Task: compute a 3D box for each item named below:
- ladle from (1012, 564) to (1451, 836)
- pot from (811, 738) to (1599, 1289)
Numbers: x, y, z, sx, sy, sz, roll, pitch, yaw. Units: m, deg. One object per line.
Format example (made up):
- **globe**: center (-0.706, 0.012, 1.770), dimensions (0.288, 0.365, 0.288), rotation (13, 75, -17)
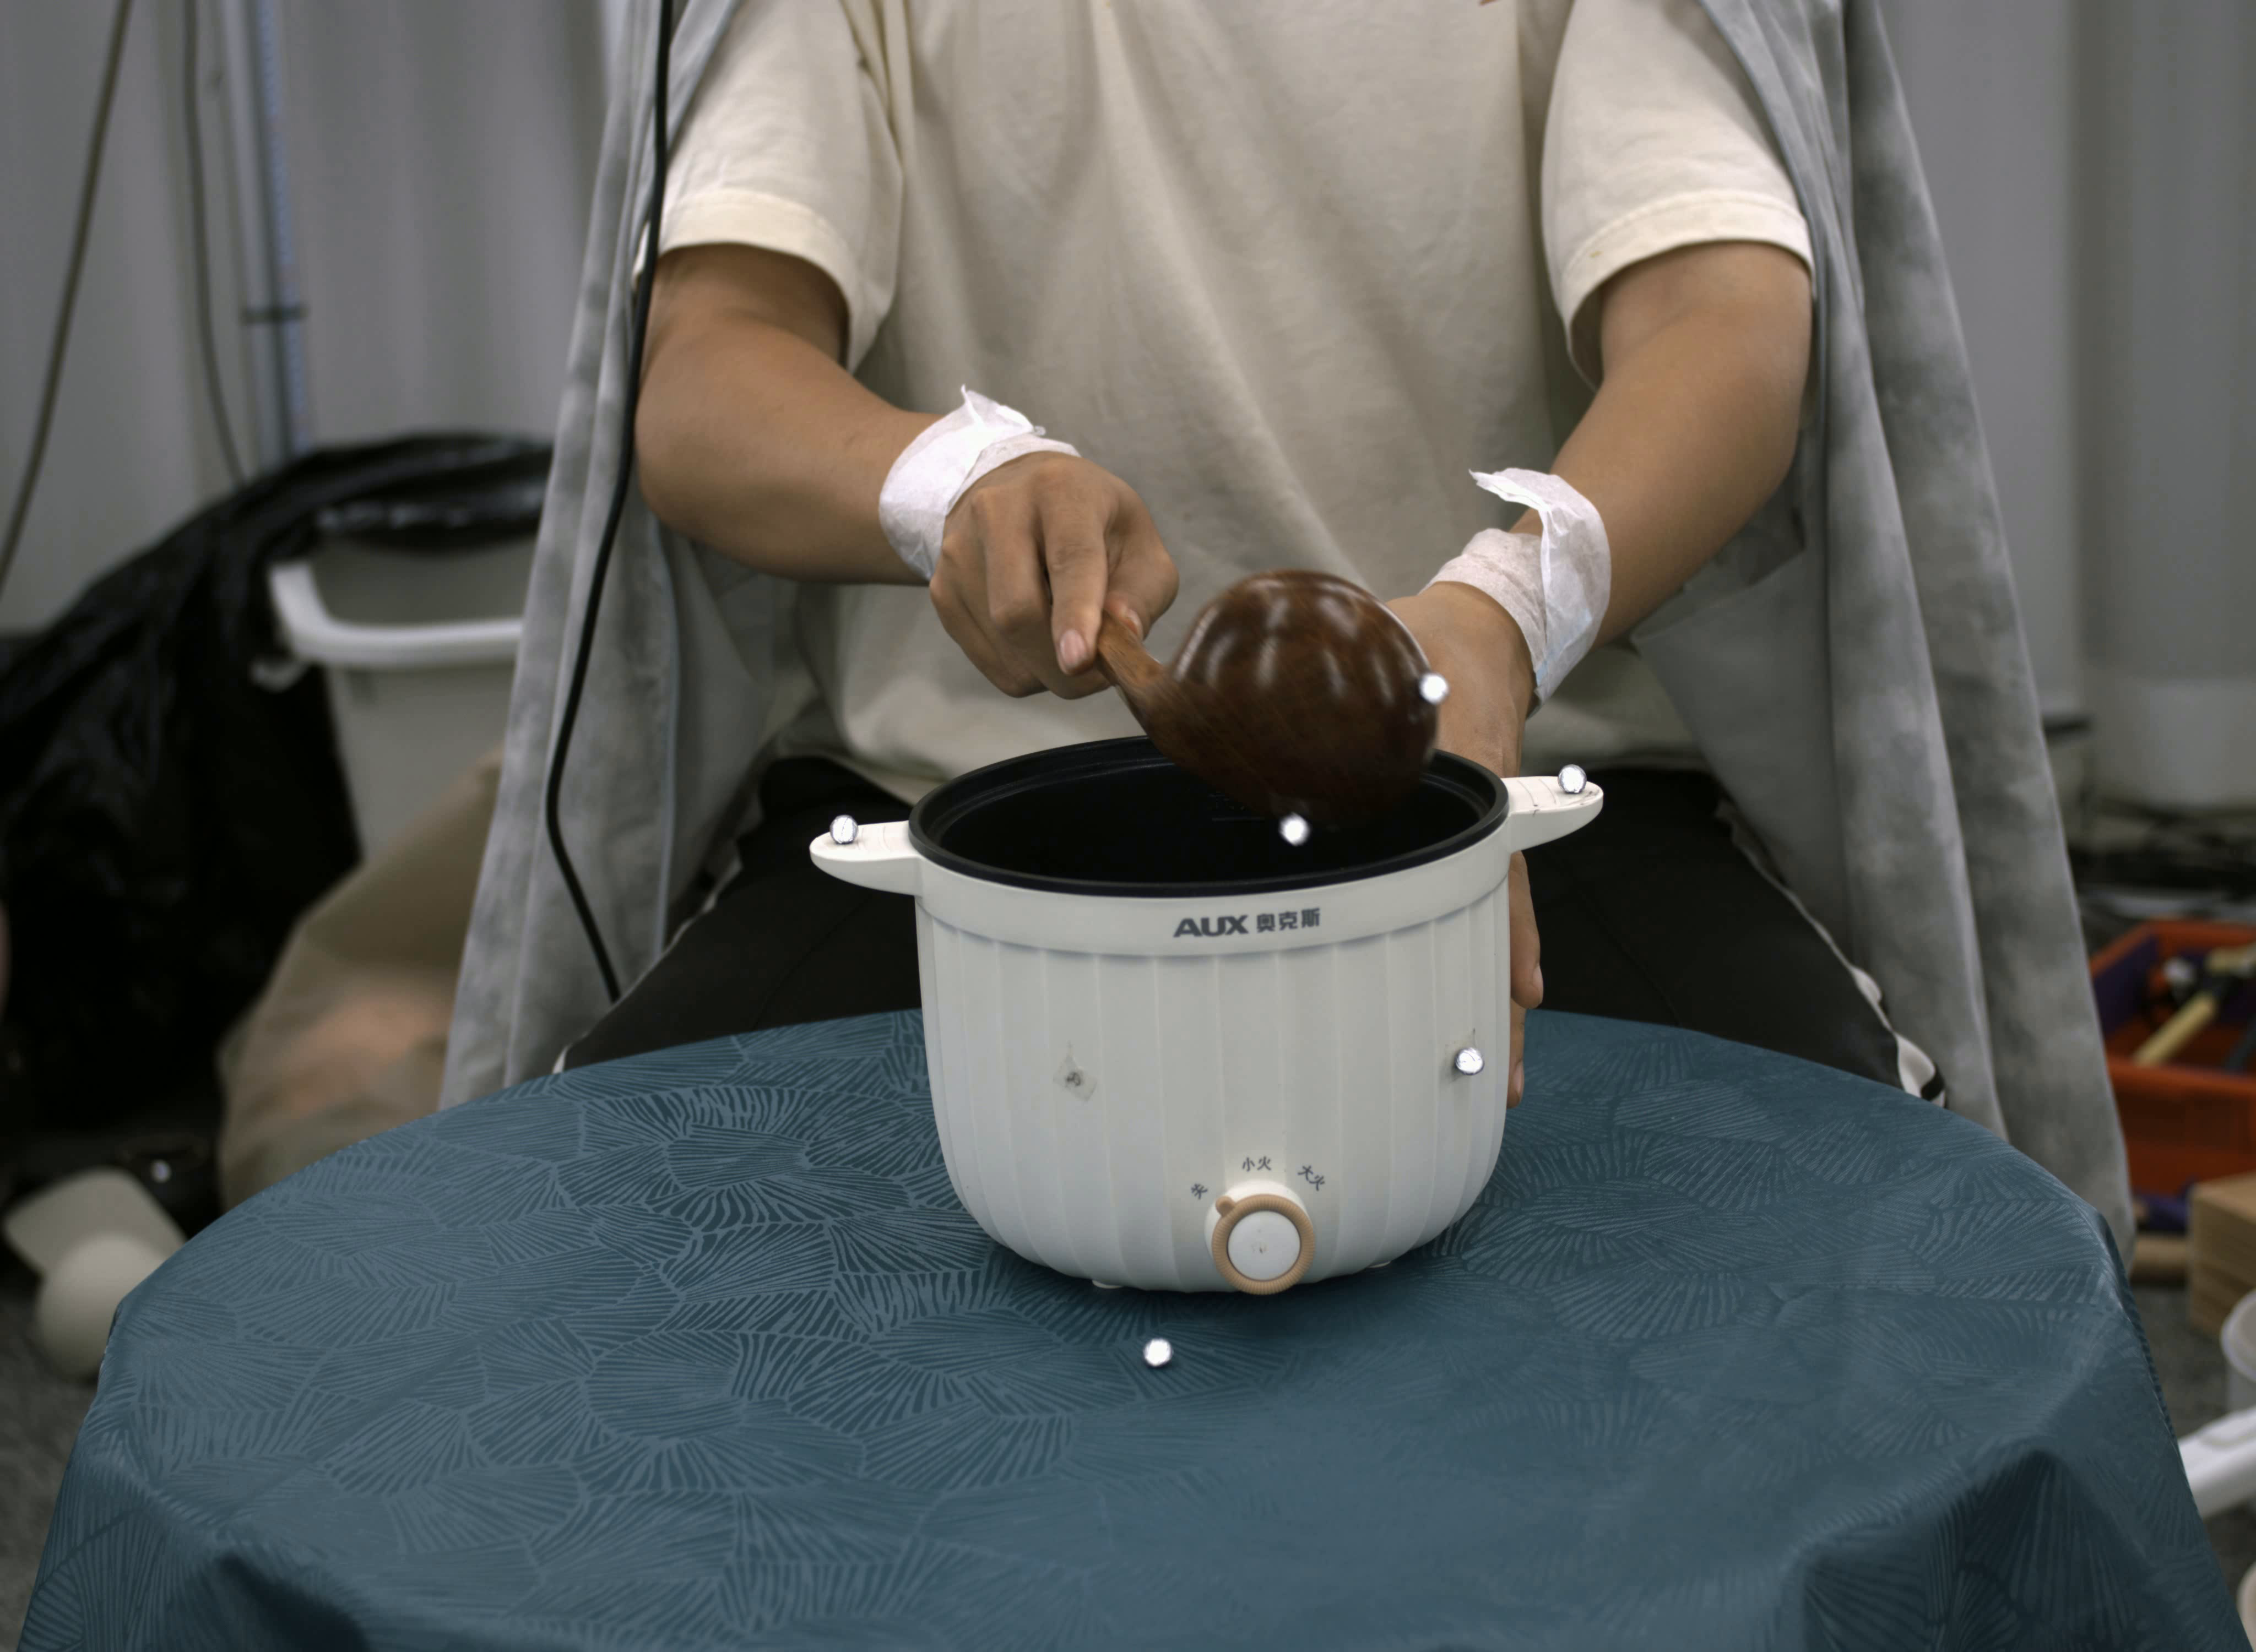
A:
- **ladle**: center (0.029, -0.055, 1.705), dimensions (0.076, 0.081, 0.276), rotation (-15, 13, -10)
- **pot**: center (0.029, 0.059, 1.656), dimensions (0.239, 0.142, 0.191), rotation (-5, 11, -5)
